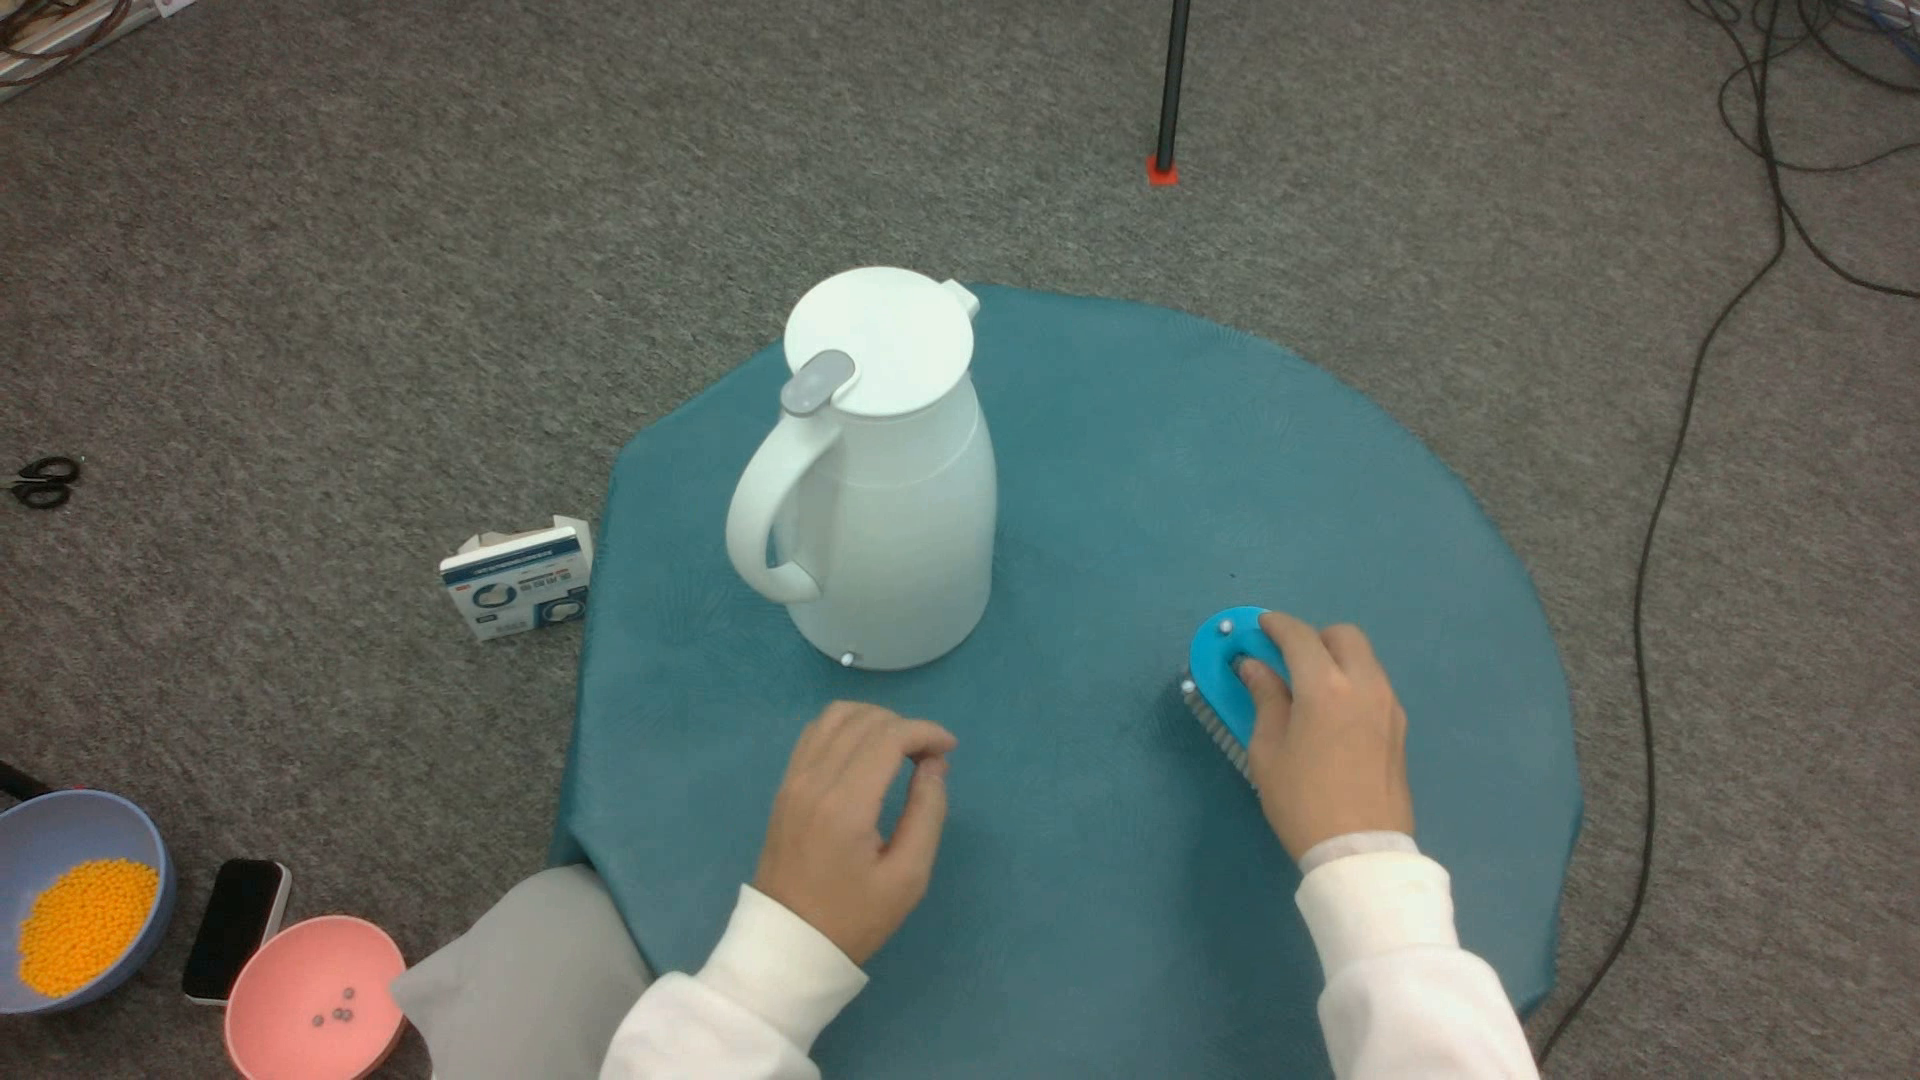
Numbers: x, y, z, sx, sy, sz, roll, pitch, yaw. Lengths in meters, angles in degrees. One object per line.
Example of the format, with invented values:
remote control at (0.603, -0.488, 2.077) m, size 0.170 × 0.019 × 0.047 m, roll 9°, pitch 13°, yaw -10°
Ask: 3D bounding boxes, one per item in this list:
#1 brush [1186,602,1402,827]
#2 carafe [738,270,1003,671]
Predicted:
brush at (0.193, 0.090, 0.786) m, size 0.084 × 0.063 × 0.142 m, roll -29°, pitch 63°, yaw -16°
carafe at (-0.051, -0.025, 0.766) m, size 0.132 × 0.247 × 0.168 m, roll 37°, pitch 66°, yaw 19°
